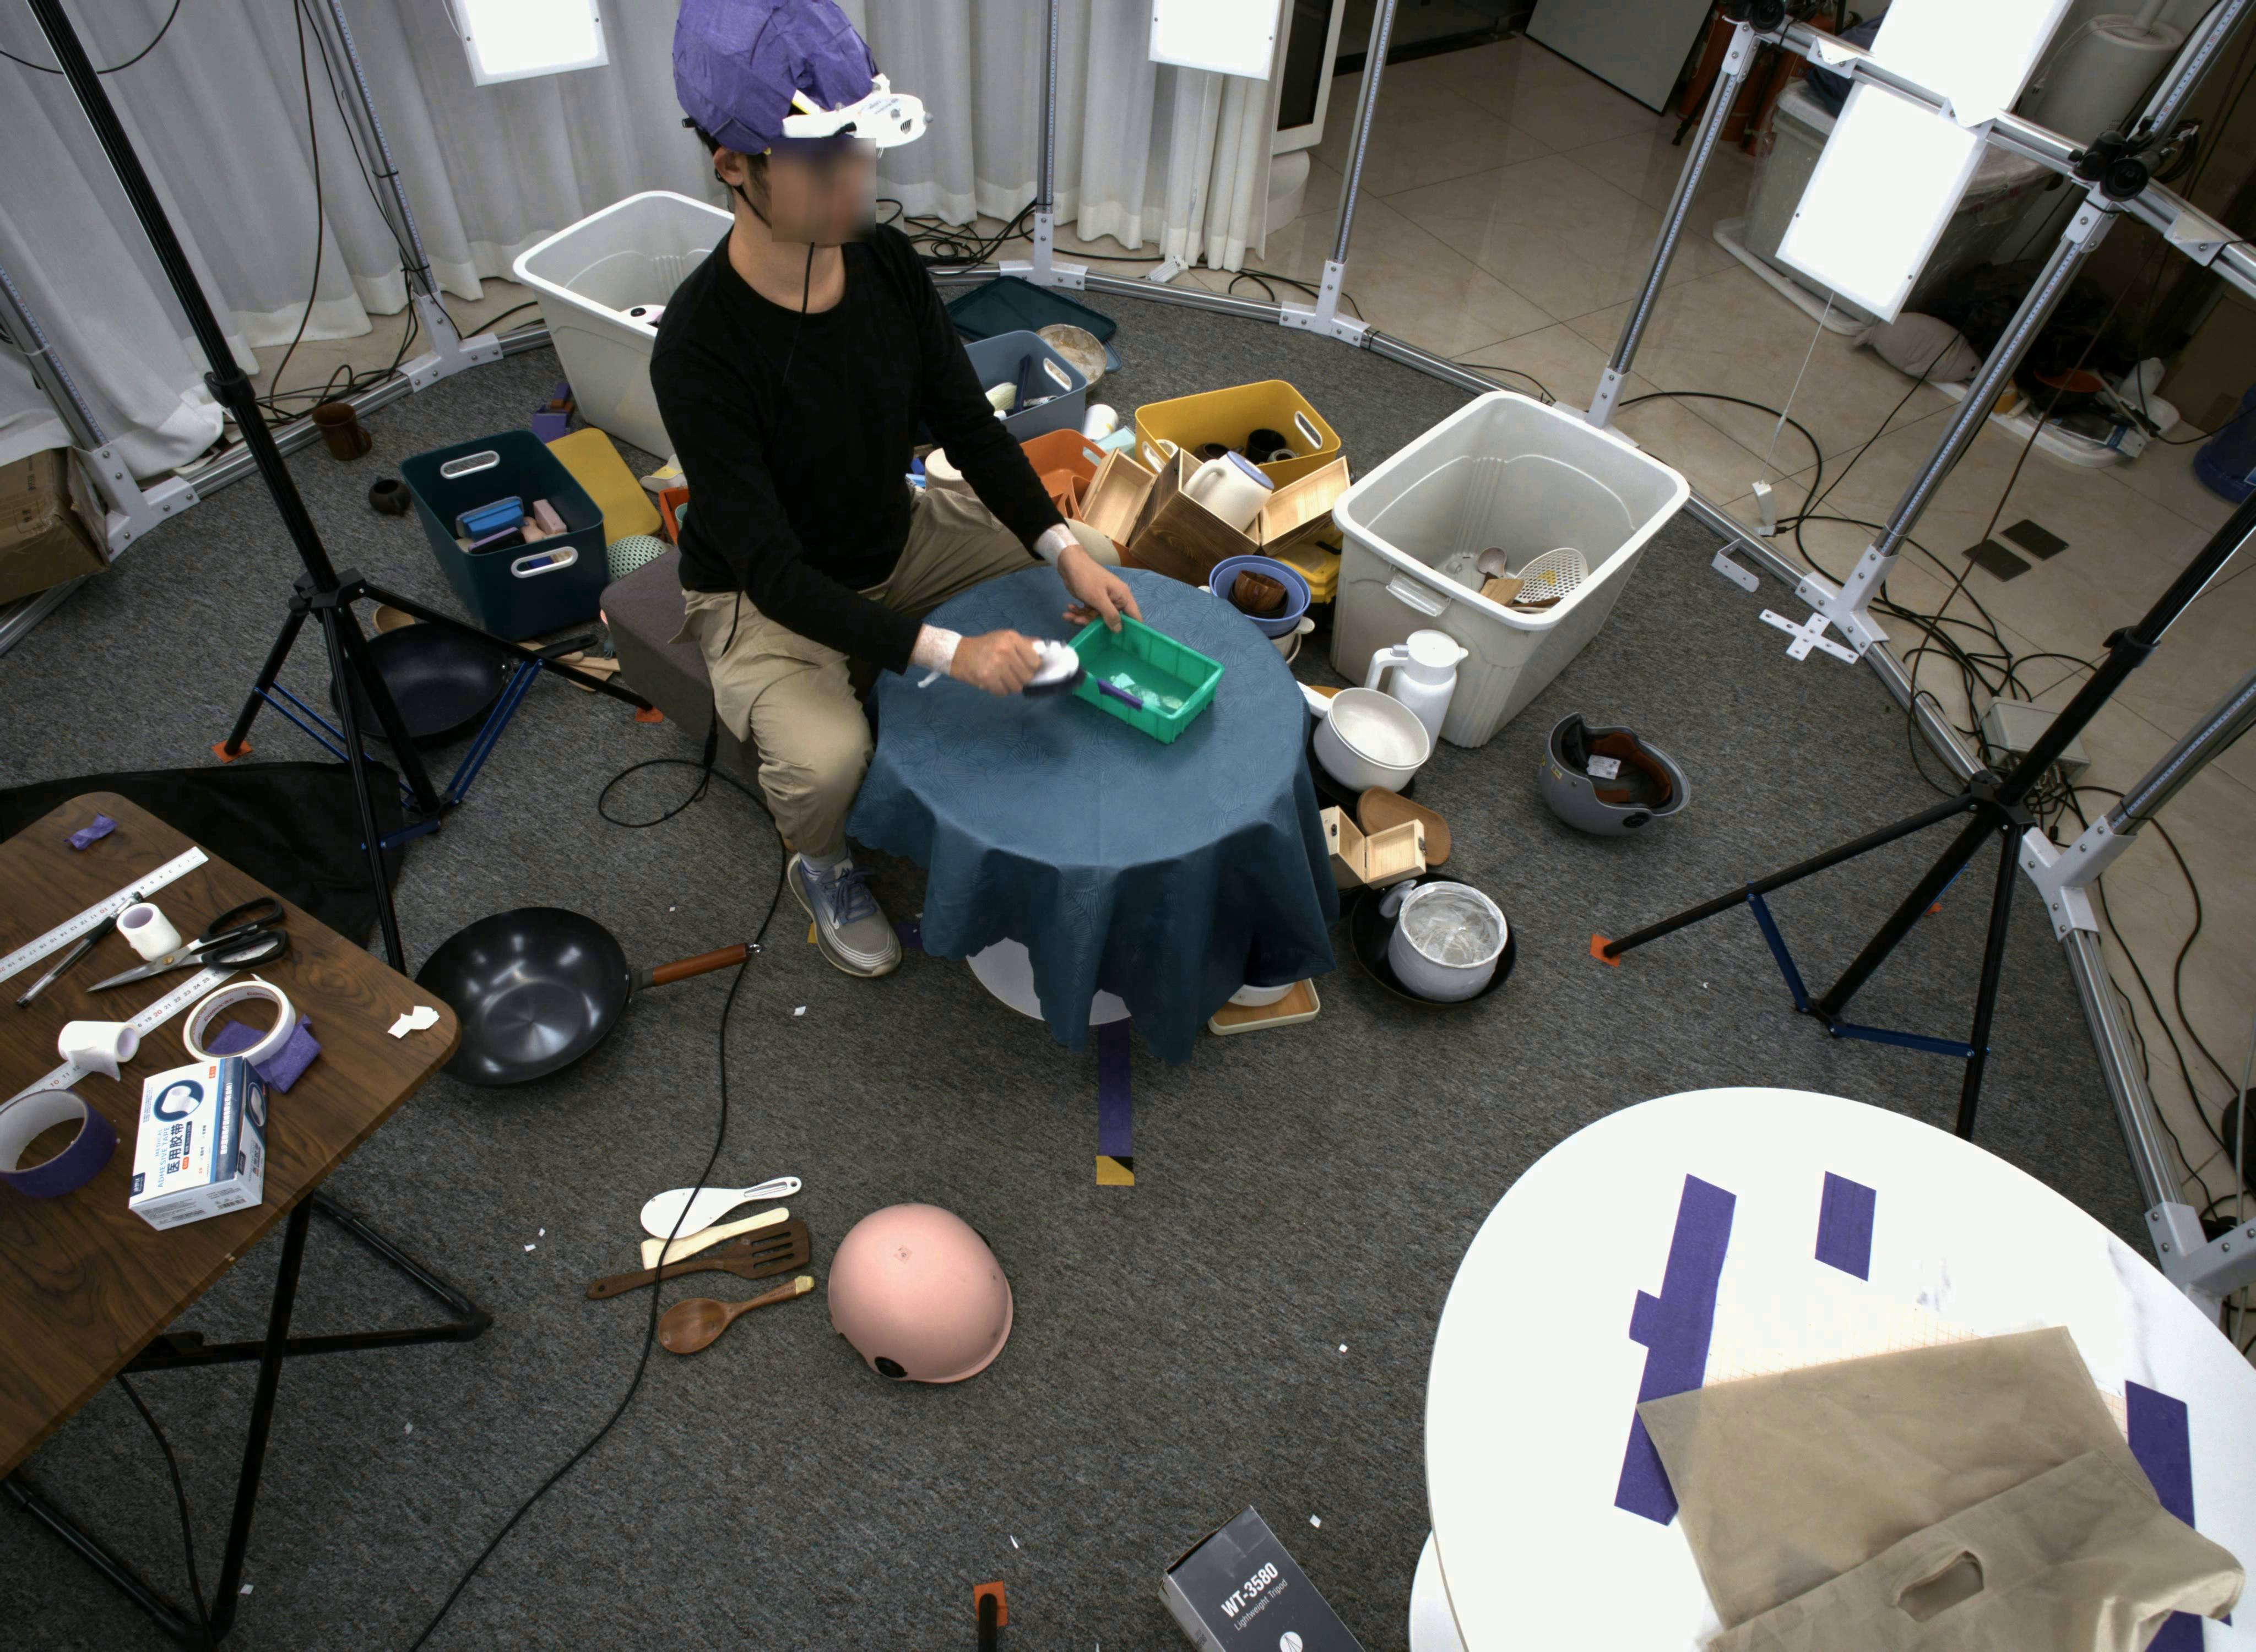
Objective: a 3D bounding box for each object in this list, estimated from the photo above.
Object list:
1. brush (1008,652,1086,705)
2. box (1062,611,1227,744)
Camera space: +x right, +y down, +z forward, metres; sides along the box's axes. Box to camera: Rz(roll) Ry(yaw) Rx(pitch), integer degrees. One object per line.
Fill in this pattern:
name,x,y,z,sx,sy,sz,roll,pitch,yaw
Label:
brush,-0.114,-0.204,1.720,0.099,0.071,0.051,1,54,29
box,0.021,-0.208,1.812,0.212,0.064,0.140,29,55,19
